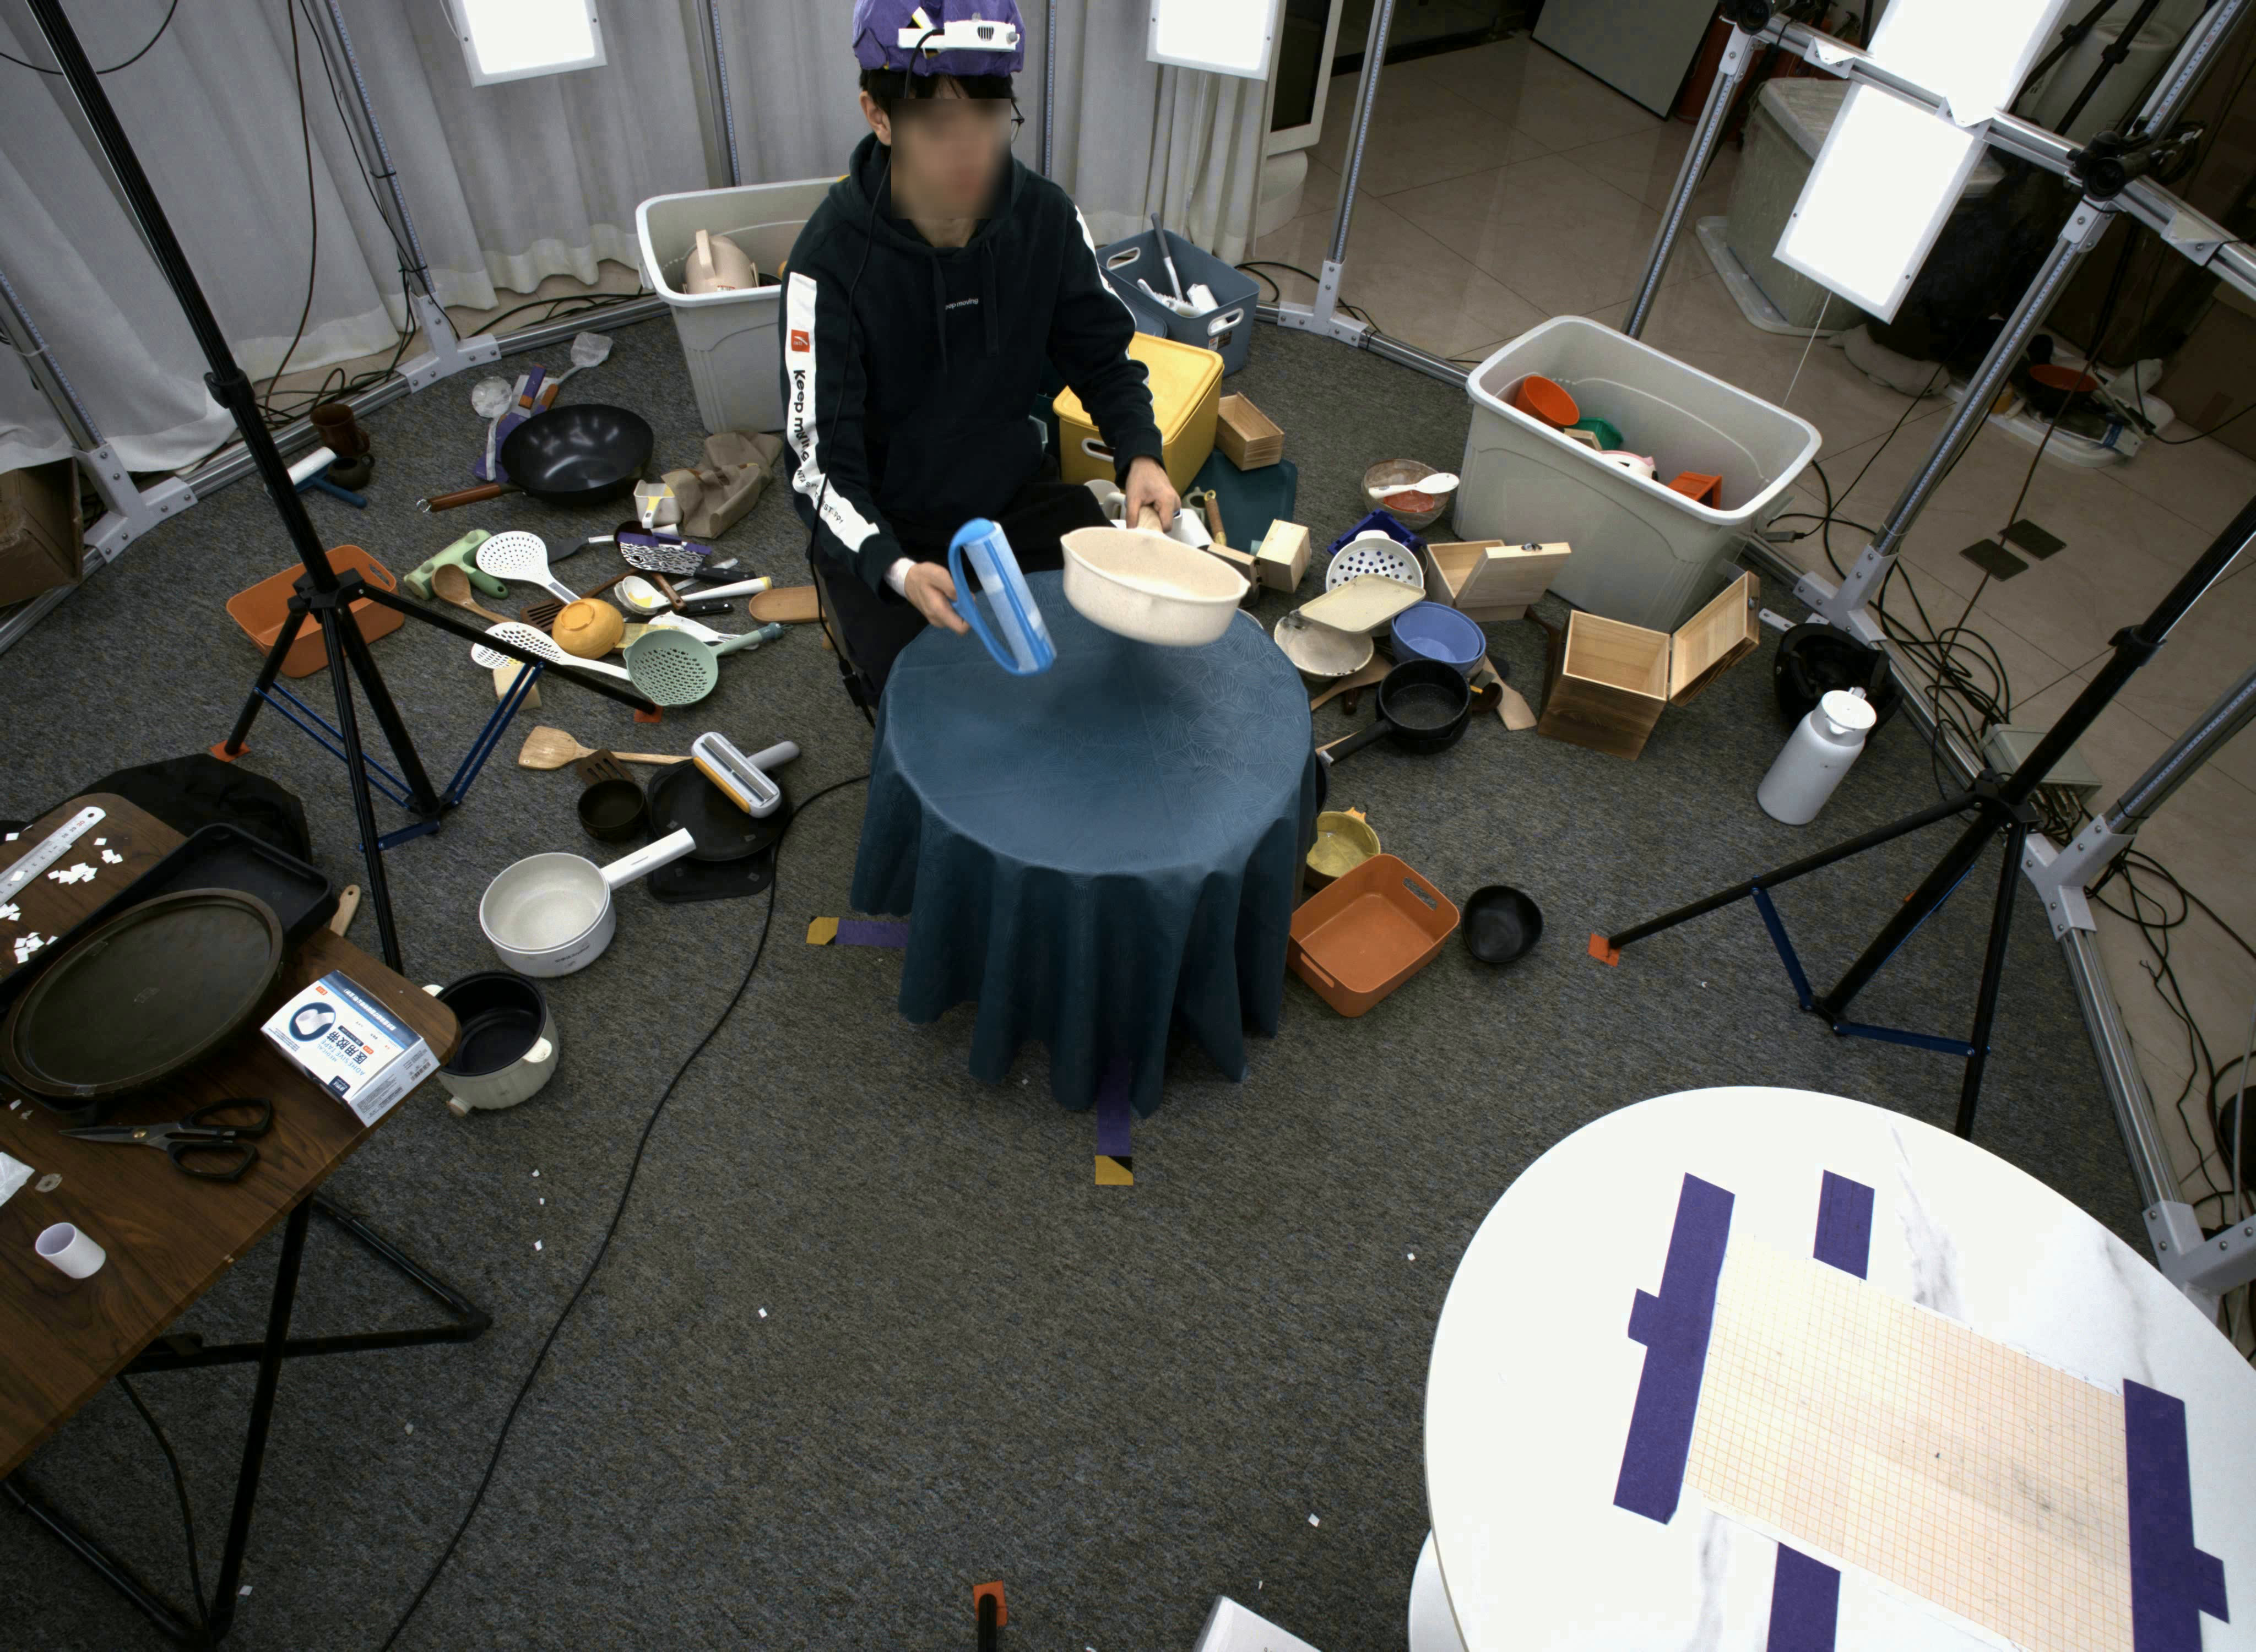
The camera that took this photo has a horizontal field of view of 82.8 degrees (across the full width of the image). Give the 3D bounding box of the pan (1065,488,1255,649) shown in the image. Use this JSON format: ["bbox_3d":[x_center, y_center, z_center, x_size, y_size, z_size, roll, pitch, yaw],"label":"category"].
[{"bbox_3d":[0.031,-0.368,1.812,0.262,0.100,0.444,10,28,-9],"label":"pan"}]

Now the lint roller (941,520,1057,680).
[{"bbox_3d":[-0.197,-0.295,1.711,0.181,0.224,0.069,5,42,42],"label":"lint roller"}]
